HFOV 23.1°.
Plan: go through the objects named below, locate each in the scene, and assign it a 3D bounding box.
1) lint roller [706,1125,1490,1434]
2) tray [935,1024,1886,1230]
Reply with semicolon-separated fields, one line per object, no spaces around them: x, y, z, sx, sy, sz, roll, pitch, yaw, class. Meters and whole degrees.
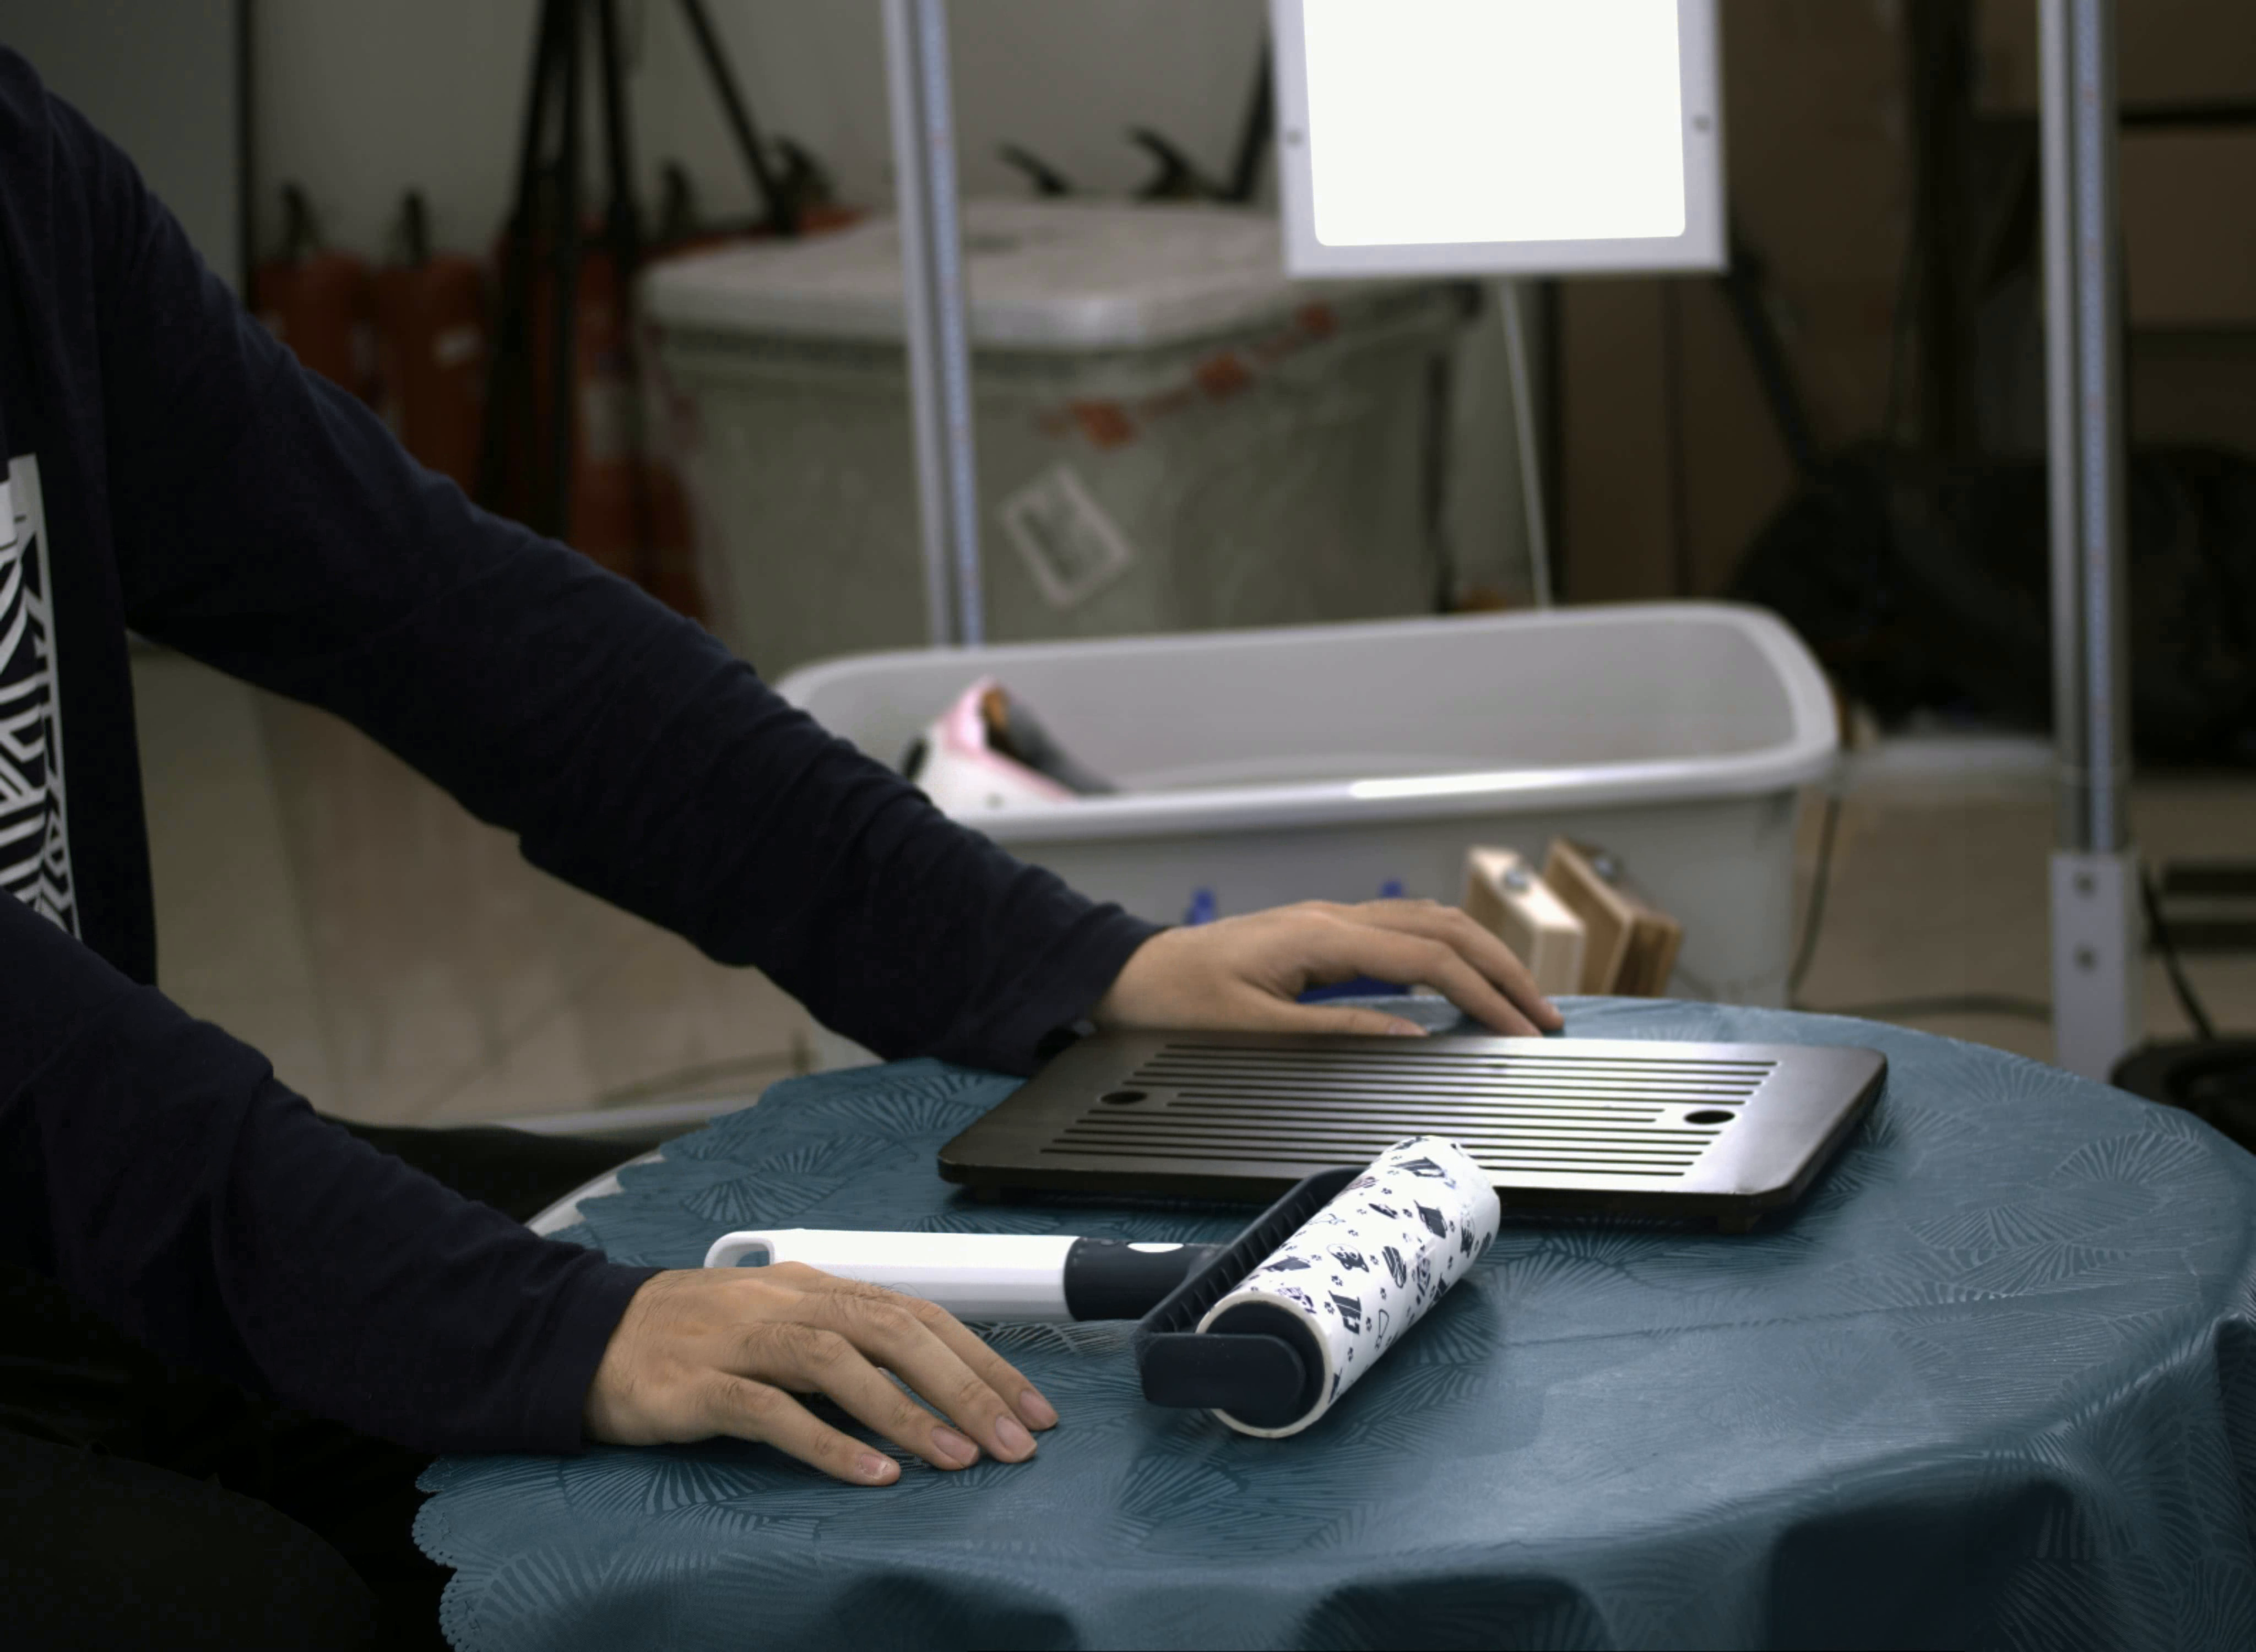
-0.025;0.144;1.756;0.251;0.050;0.173;-2;14;24;lint roller
0.100;0.104;1.921;0.310;0.019;0.167;0;15;24;tray
